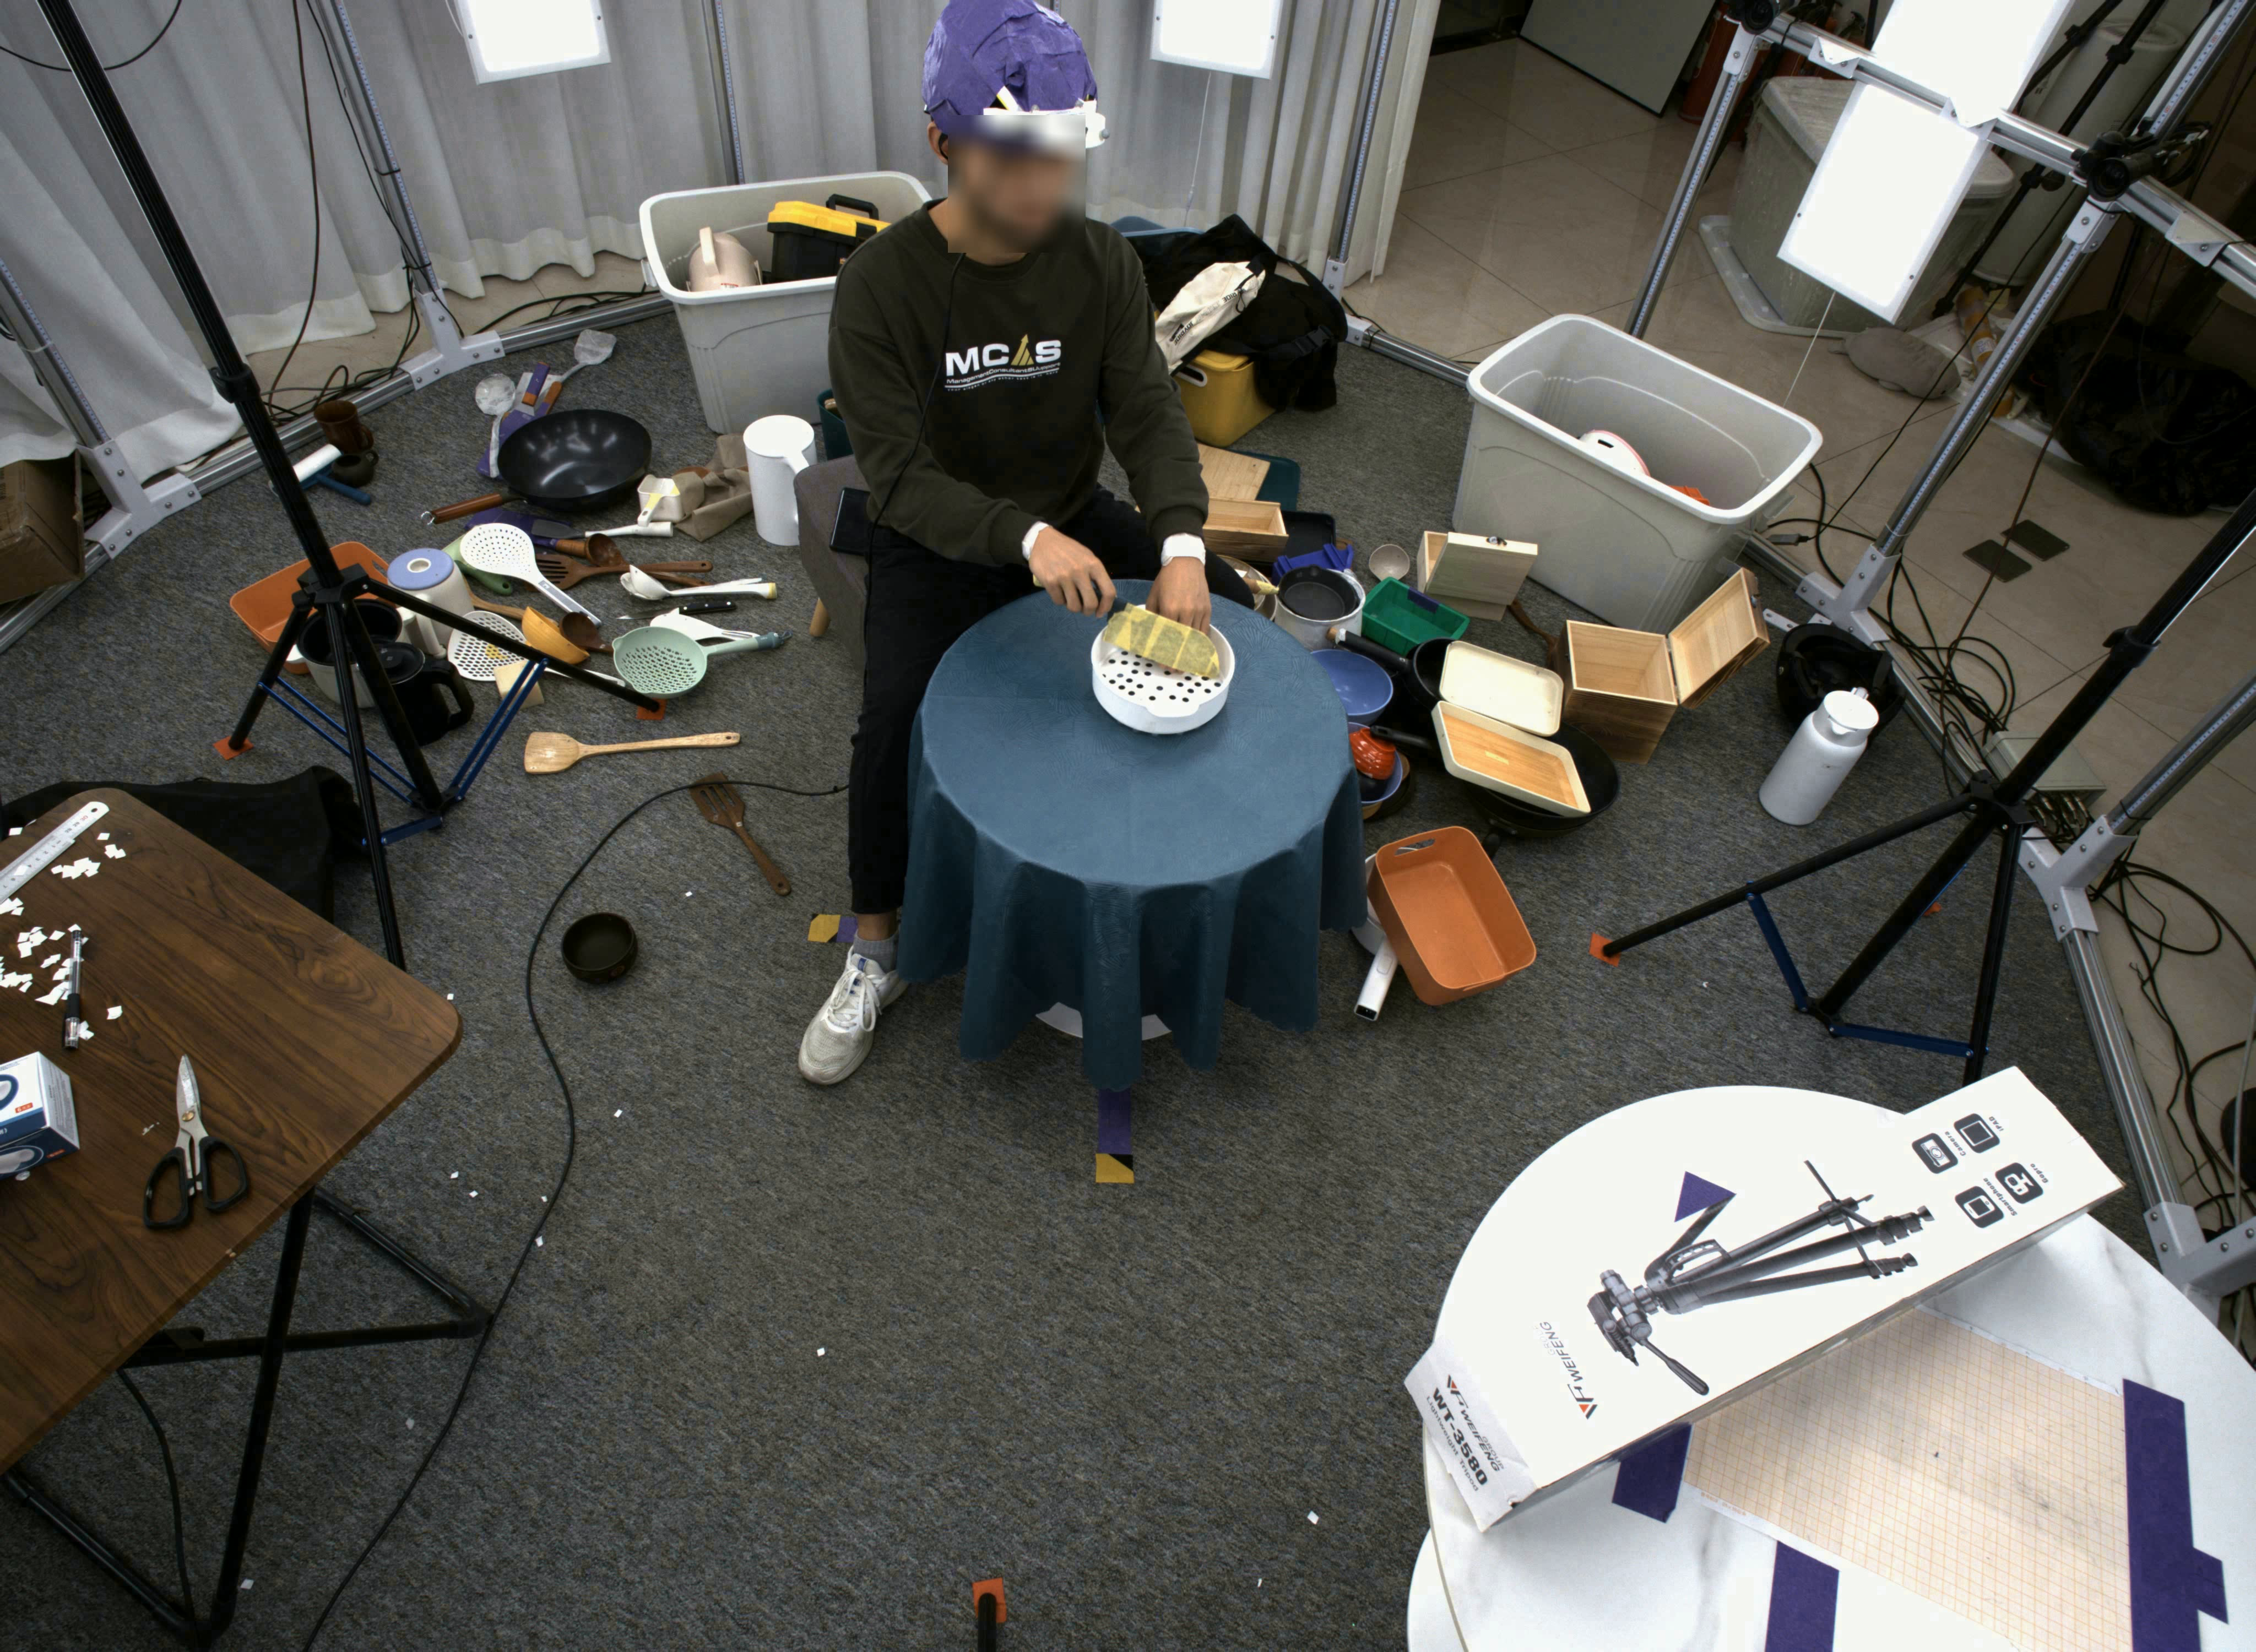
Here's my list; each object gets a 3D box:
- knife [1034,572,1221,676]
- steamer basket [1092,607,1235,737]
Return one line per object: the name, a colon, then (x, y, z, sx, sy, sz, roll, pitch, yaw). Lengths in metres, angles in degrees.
knife: (-0.001, -0.282, 1.802, 0.289, 0.079, 0.028, 25, 37, -1)
steamer basket: (0.048, -0.214, 1.813, 0.201, 0.067, 0.236, -2, 48, -6)
